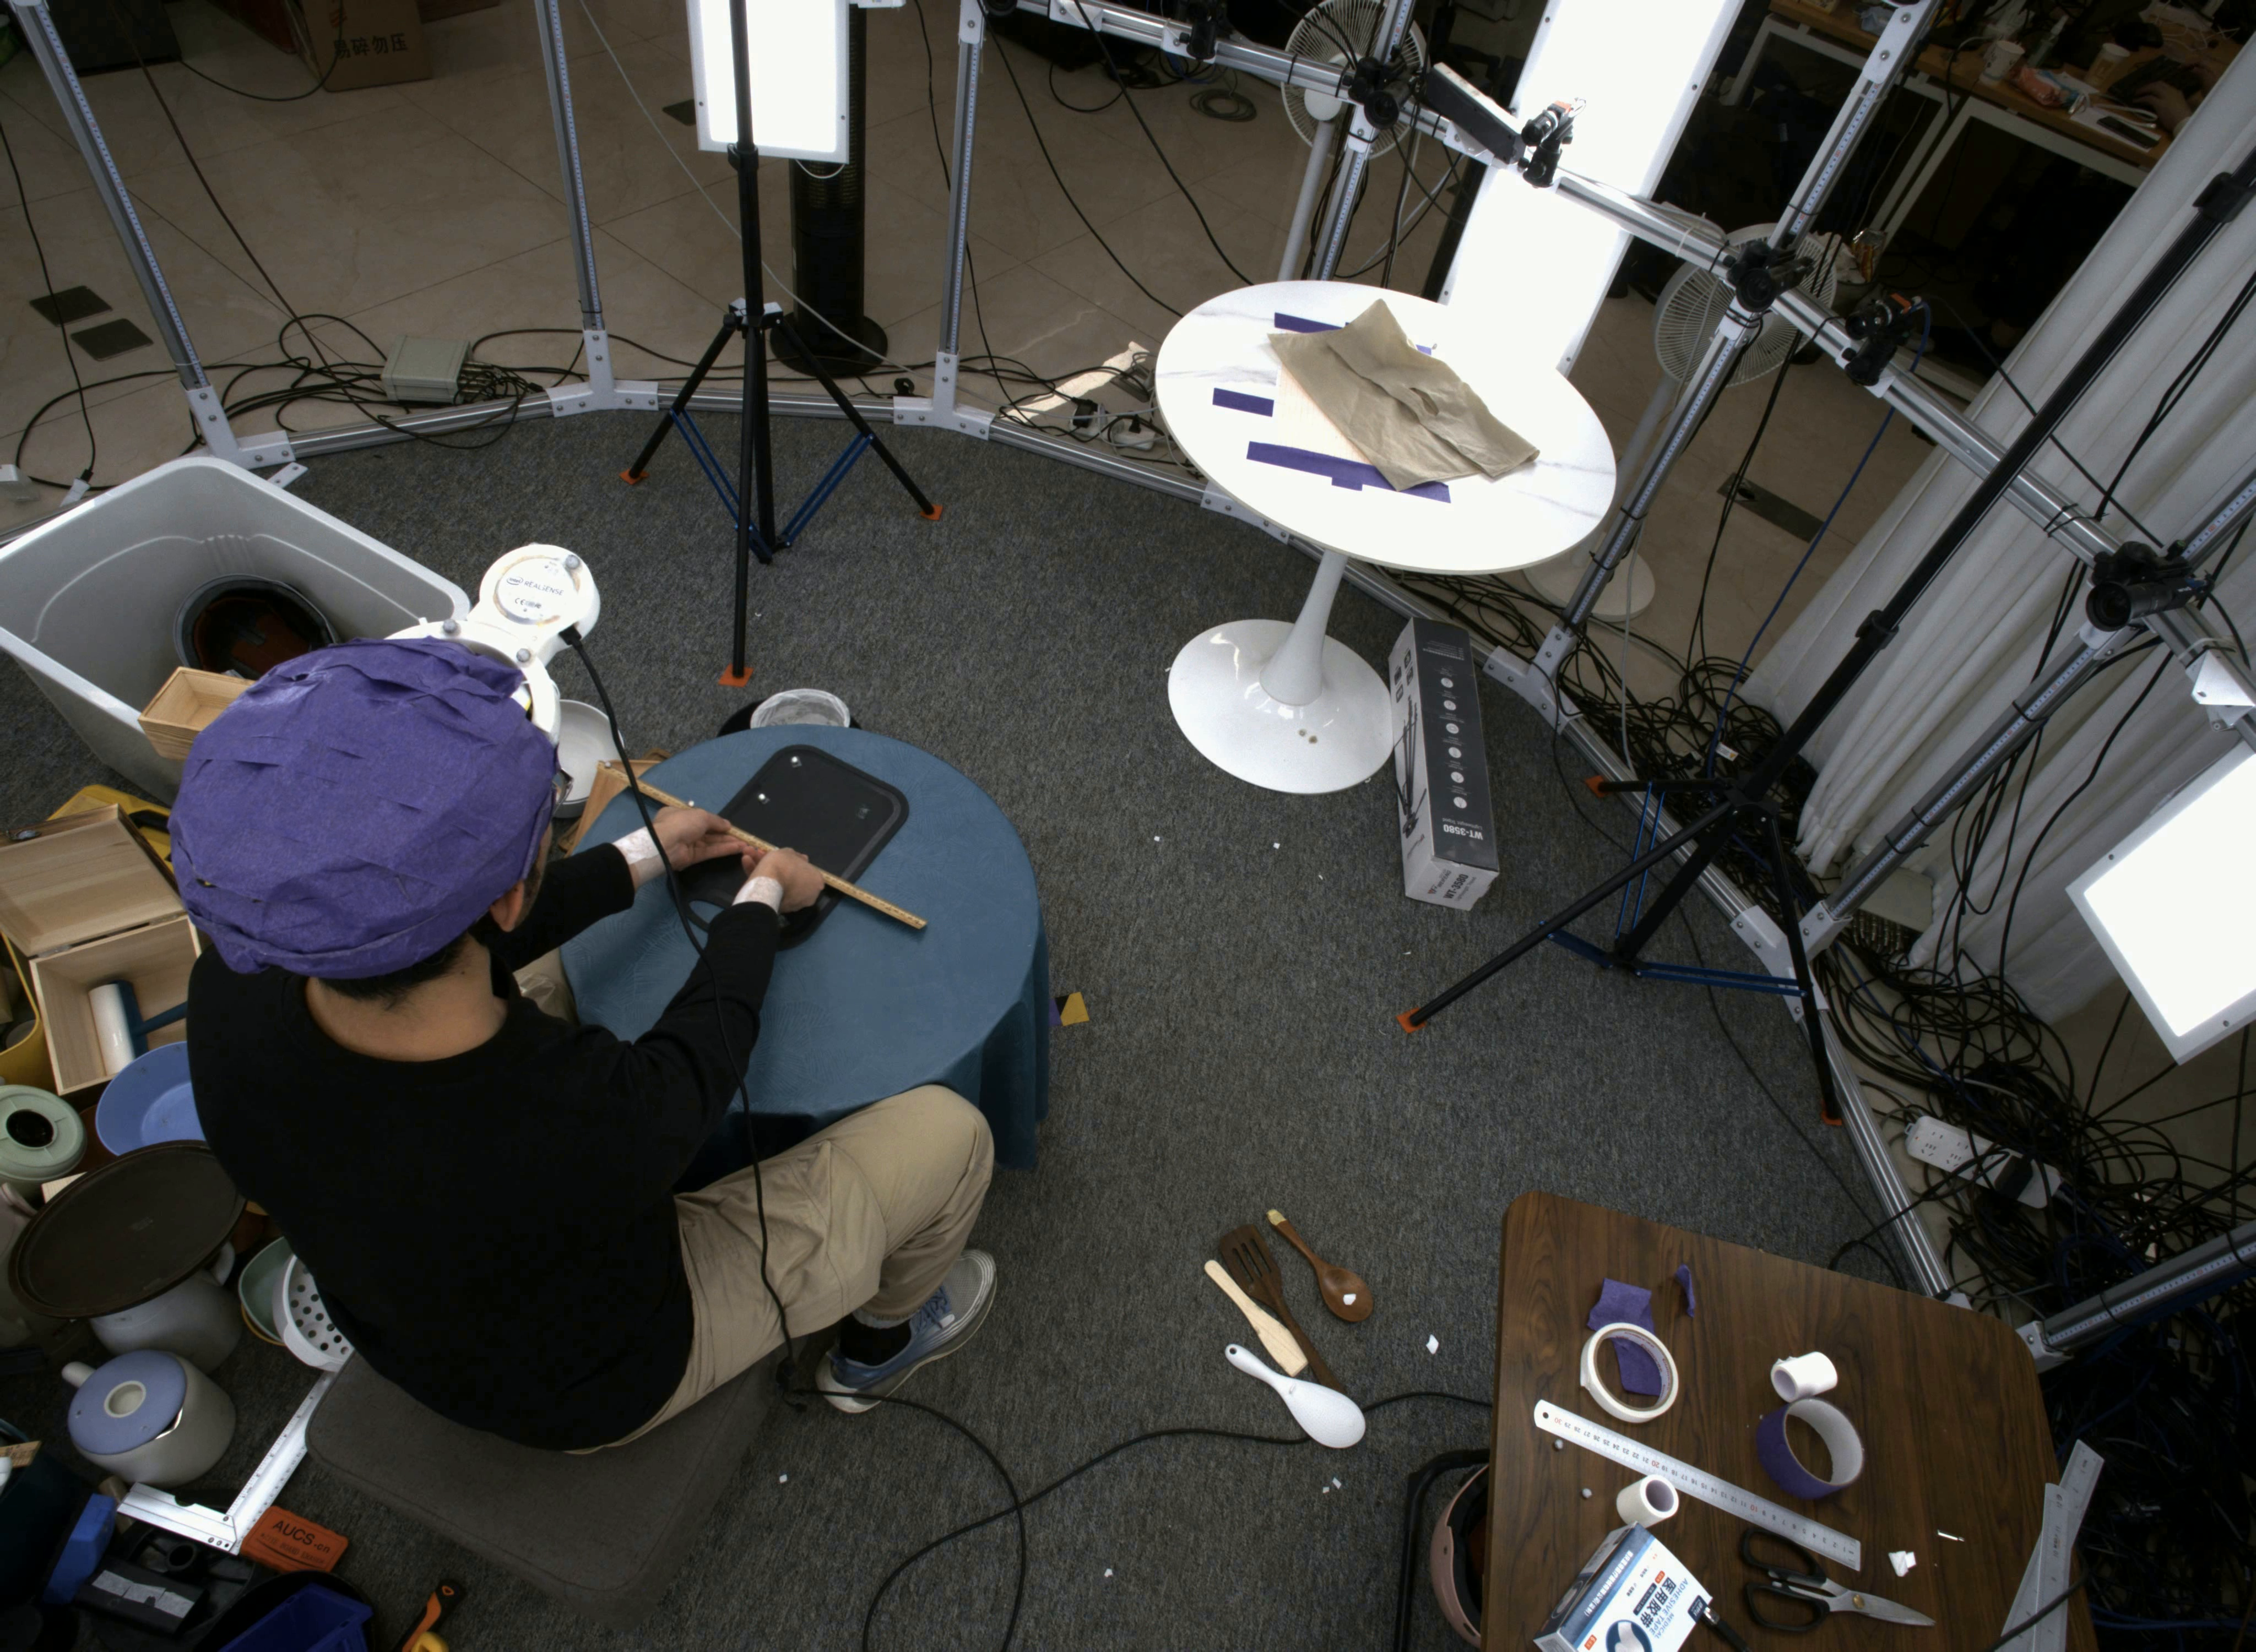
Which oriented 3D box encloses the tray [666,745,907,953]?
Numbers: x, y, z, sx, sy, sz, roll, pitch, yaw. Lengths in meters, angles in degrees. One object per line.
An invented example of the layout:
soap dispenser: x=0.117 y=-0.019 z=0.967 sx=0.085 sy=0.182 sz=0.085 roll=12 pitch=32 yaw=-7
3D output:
tray: x=-0.445 y=0.025 z=1.690 sx=0.208 sy=0.010 sz=0.324 roll=28 pitch=52 yaw=7

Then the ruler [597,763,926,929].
ruler: x=-0.483 y=0.021 z=1.672 sx=0.494 sy=0.006 sz=0.027 roll=25 pitch=18 yaw=5
